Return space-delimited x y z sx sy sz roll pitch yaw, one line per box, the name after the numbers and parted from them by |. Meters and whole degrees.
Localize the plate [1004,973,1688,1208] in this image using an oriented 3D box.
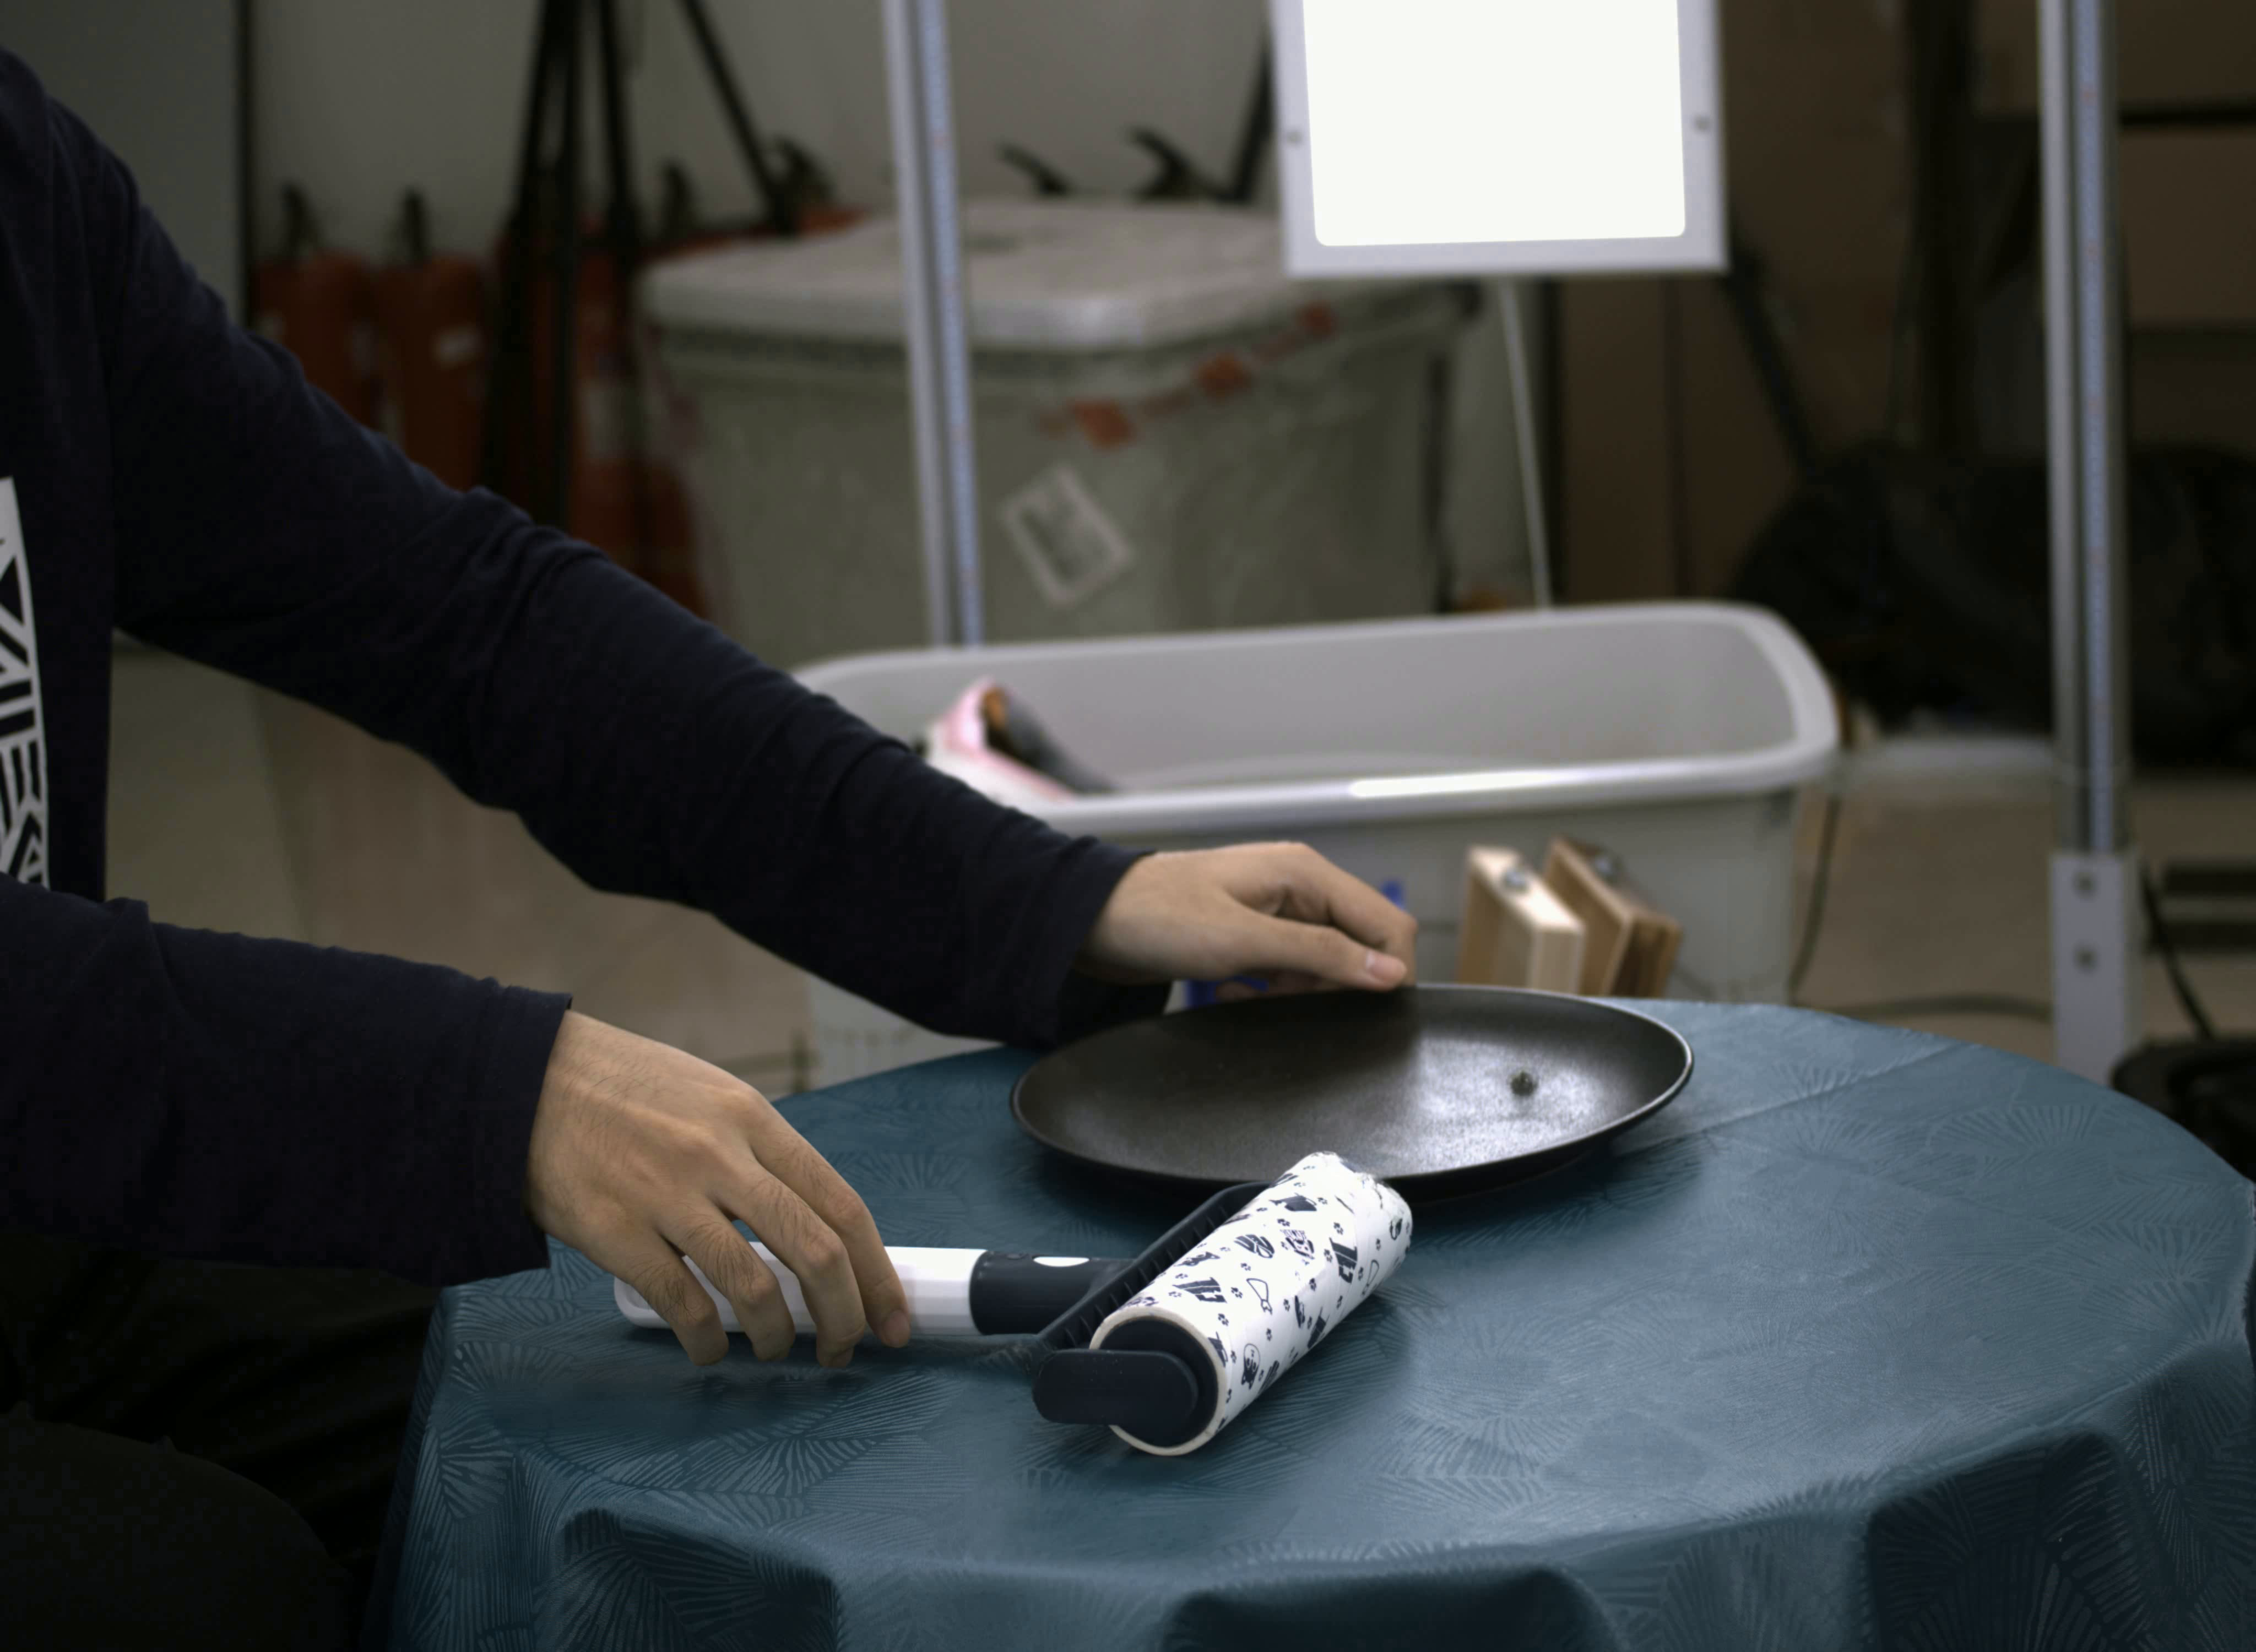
0.077 0.097 1.943 0.244 0.023 0.244 -5 15 0 | plate

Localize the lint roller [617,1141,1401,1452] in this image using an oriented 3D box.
-0.054 0.148 1.752 0.251 0.050 0.173 -1 15 25 | lint roller
